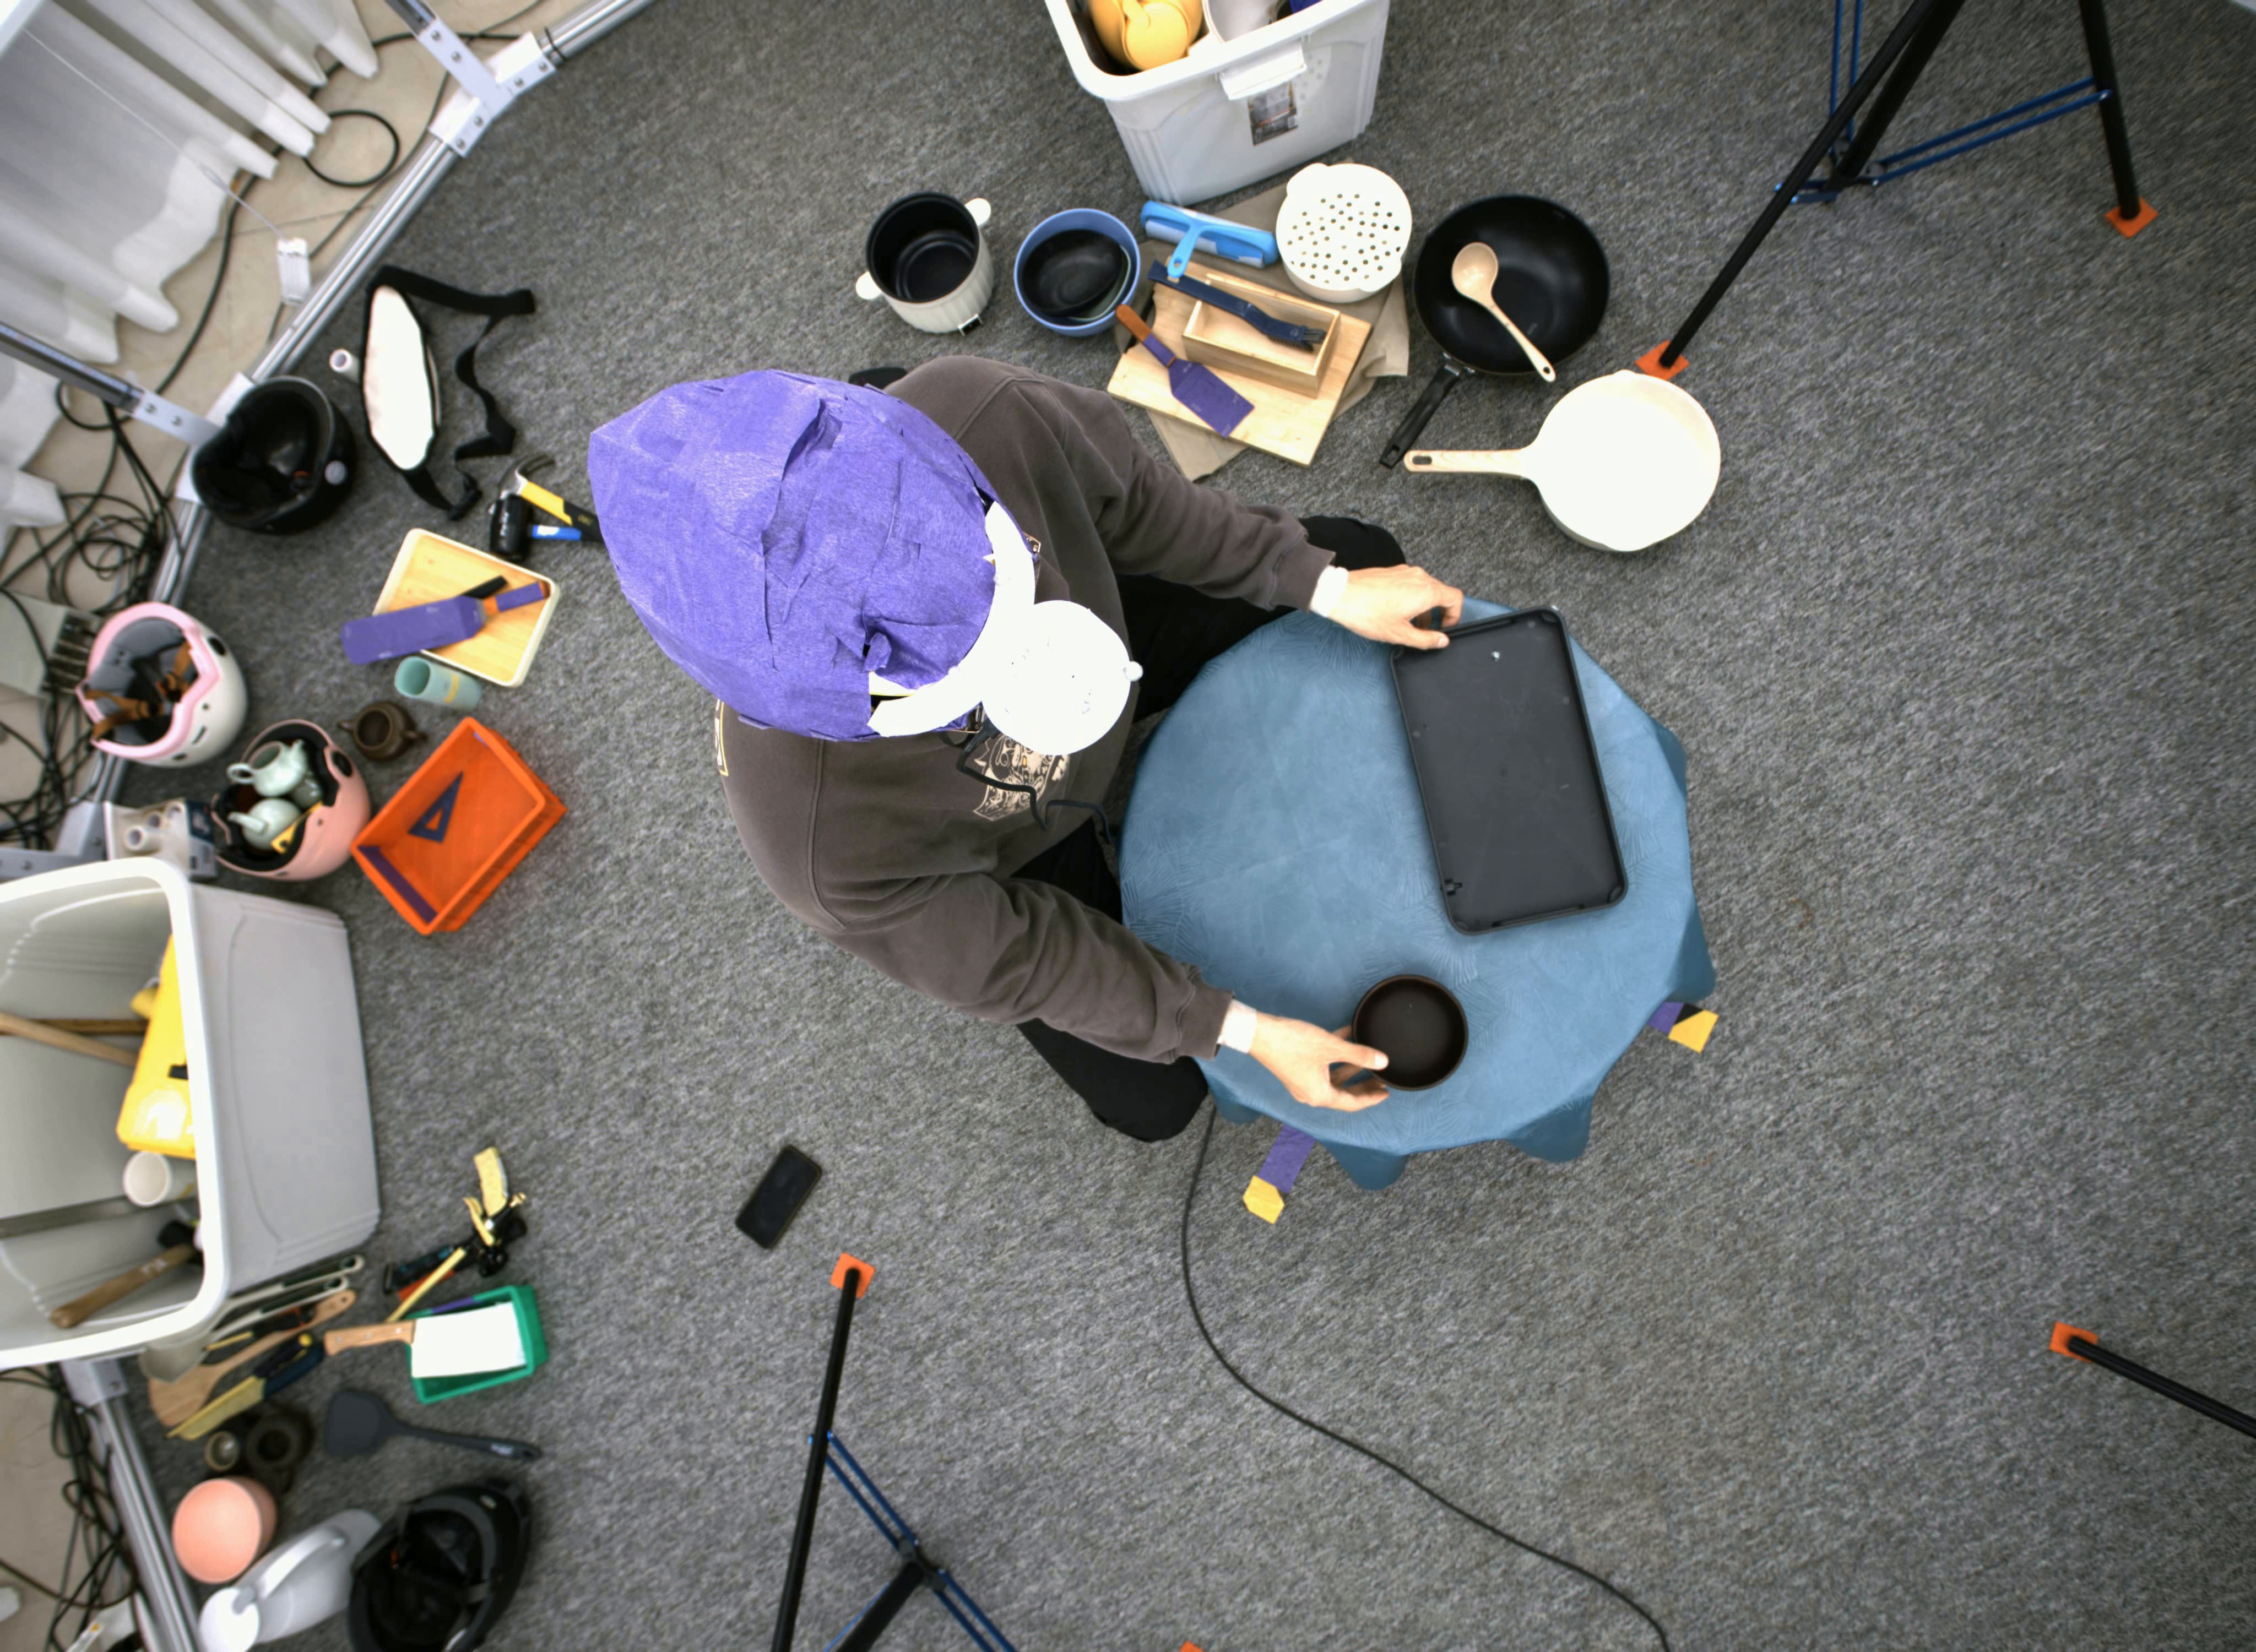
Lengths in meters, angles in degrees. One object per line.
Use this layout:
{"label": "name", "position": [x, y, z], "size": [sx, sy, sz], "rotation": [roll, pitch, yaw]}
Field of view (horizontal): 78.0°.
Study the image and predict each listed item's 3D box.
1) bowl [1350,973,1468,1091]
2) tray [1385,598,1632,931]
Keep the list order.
{"label": "bowl", "position": [0.286, 0.208, 1.412], "size": [0.118, 0.070, 0.117], "rotation": [-1, 87, 12]}
{"label": "tray", "position": [0.390, -0.064, 1.417], "size": [0.185, 0.037, 0.317], "rotation": [-14, 88, 11]}
